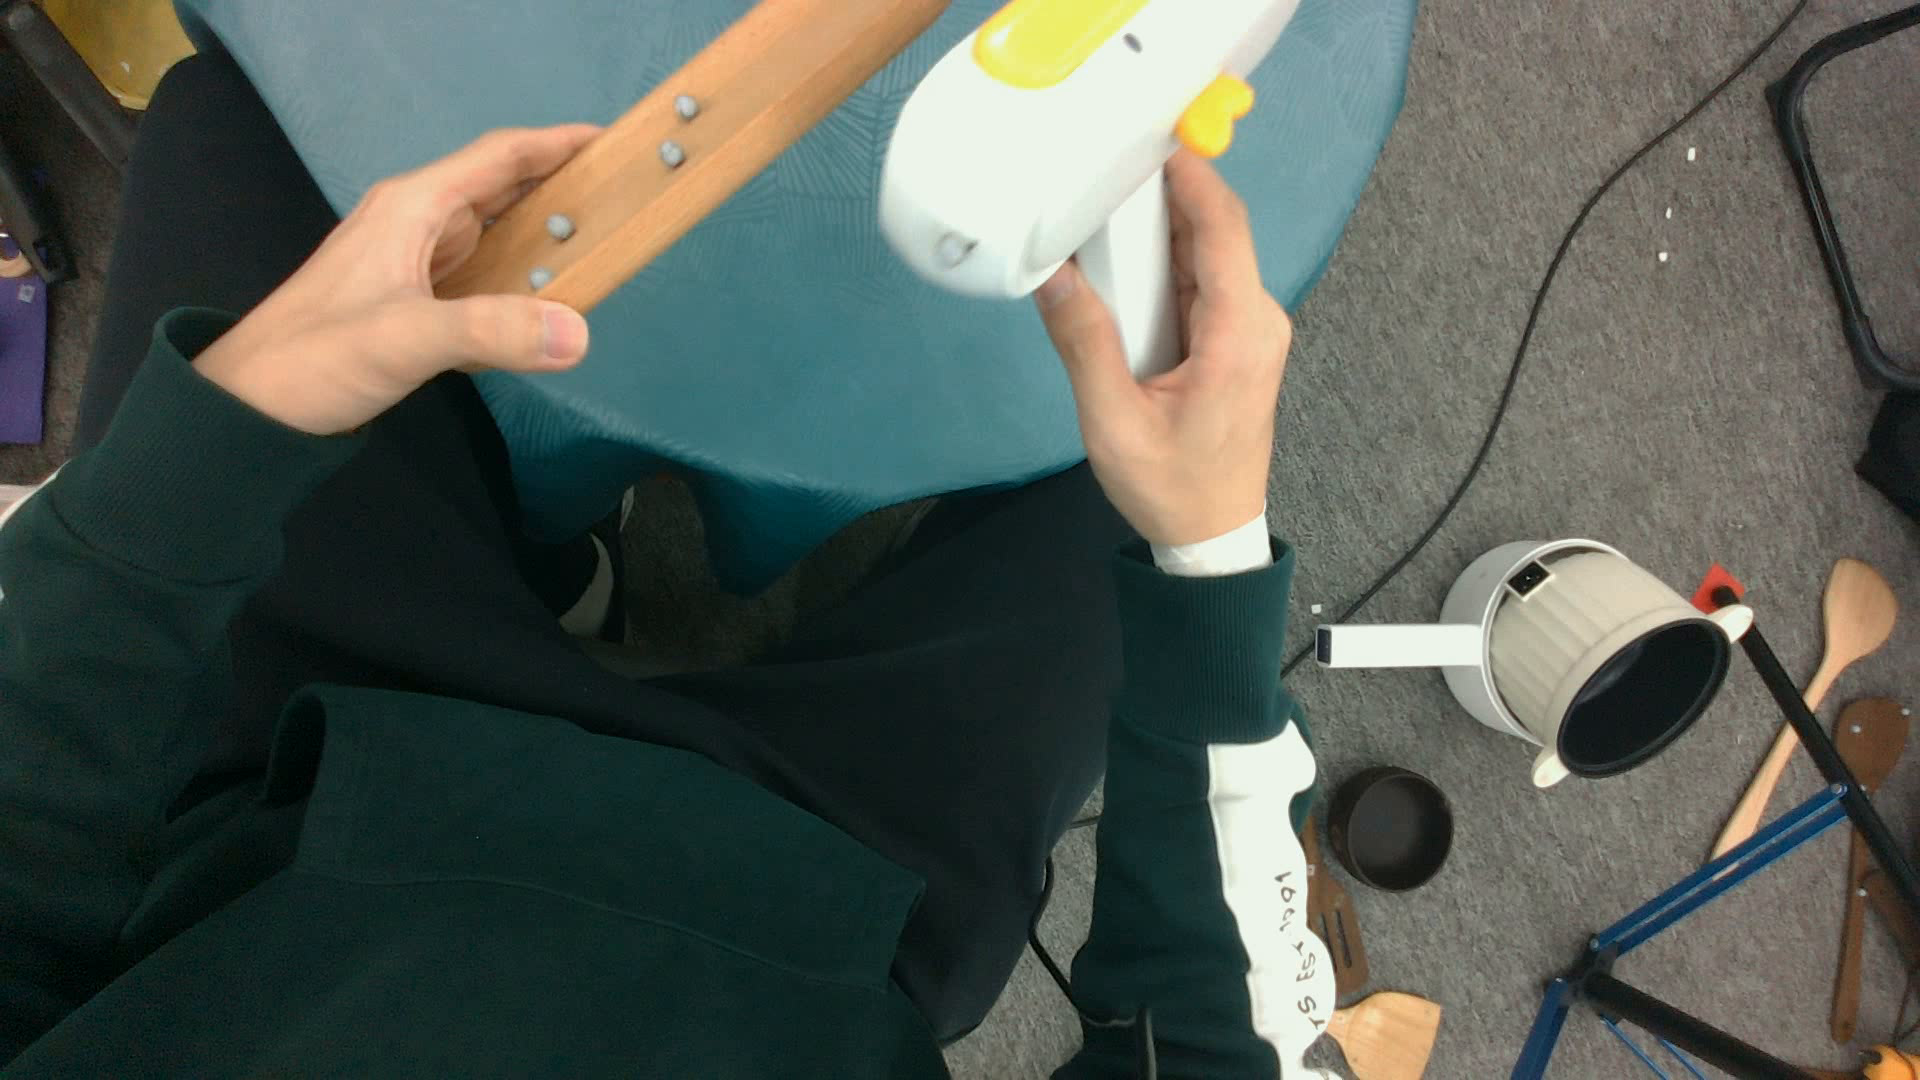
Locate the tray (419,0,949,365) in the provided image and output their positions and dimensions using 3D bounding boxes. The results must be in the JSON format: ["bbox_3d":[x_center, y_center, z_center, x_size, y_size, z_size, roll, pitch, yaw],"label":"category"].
[{"bbox_3d":[-0.089,-0.141,0.468,0.231,0.102,0.020,-40,128,-5],"label":"tray"}]

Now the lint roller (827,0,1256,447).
[{"bbox_3d":[0.043,-0.106,0.465,0.074,0.191,0.193,25,63,21],"label":"lint roller"}]
